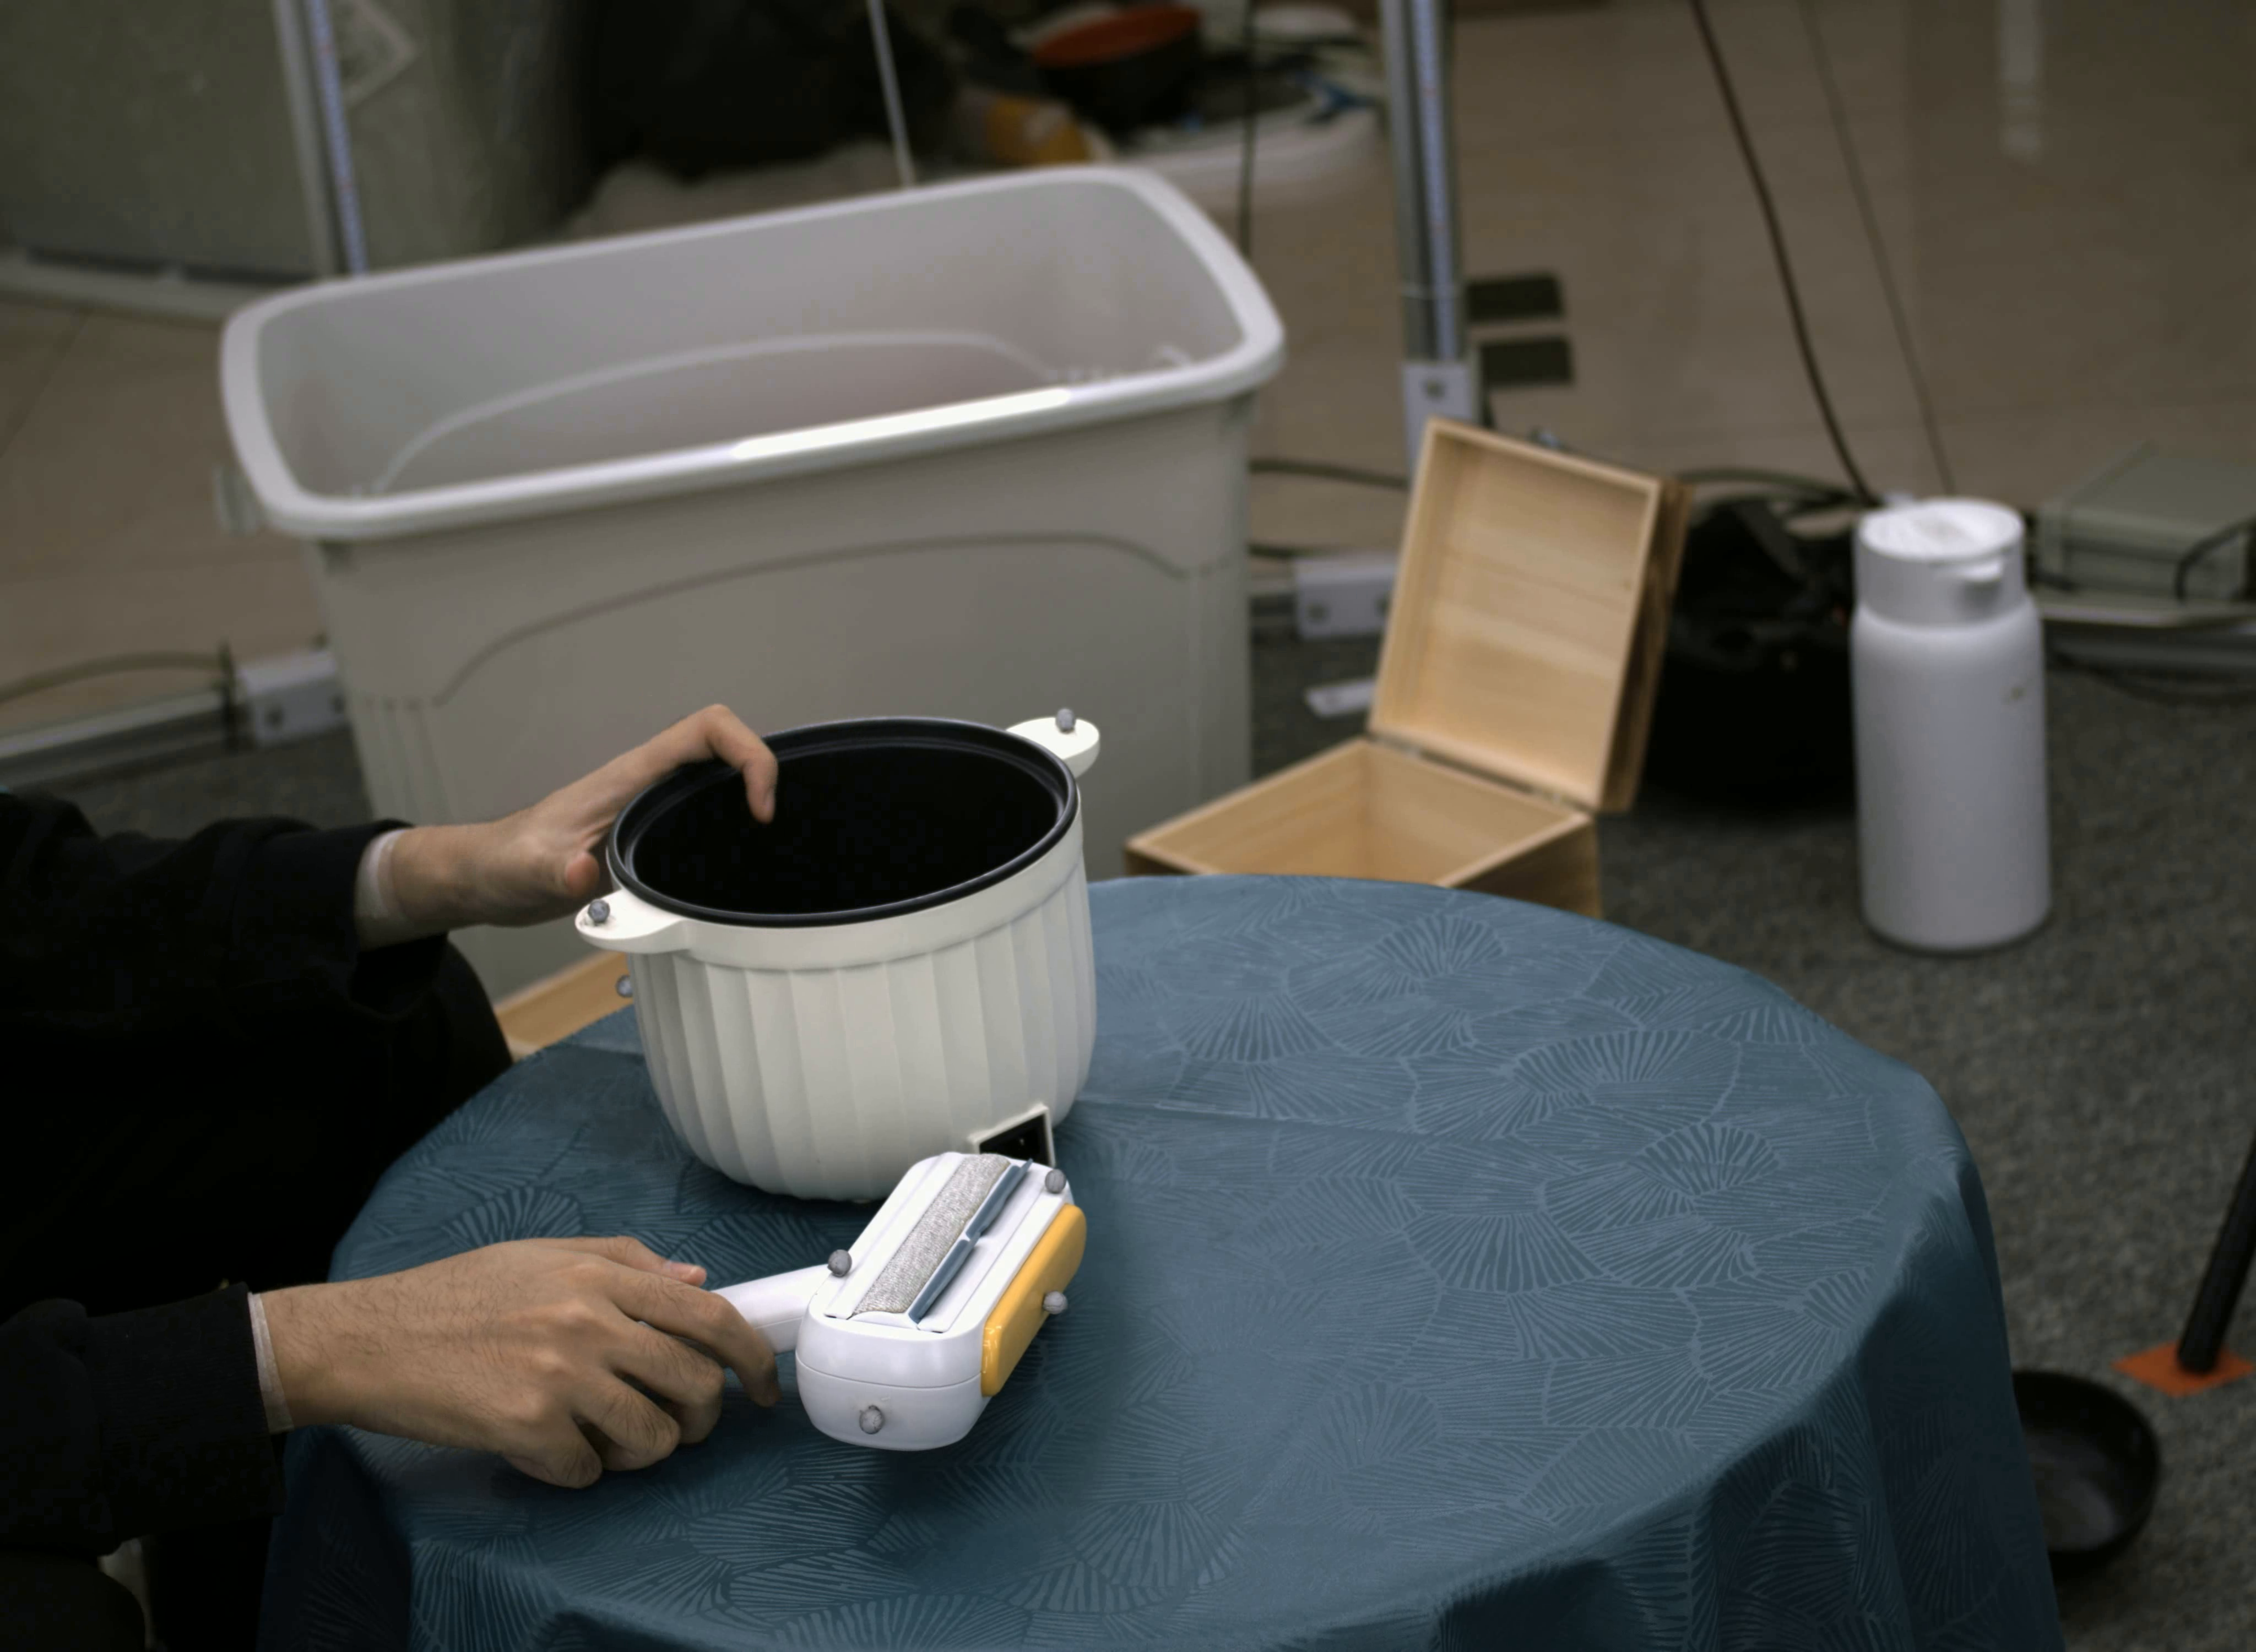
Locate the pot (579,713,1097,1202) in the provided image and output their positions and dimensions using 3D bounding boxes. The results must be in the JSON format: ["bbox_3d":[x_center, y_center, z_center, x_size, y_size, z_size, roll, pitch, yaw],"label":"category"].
[{"bbox_3d":[-0.107,0.054,2.185,0.238,0.145,0.188,-23,34,-33],"label":"pot"}]

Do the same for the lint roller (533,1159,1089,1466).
[{"bbox_3d":[-0.123,0.175,2.016,0.192,0.075,0.190,0,20,17],"label":"lint roller"}]
